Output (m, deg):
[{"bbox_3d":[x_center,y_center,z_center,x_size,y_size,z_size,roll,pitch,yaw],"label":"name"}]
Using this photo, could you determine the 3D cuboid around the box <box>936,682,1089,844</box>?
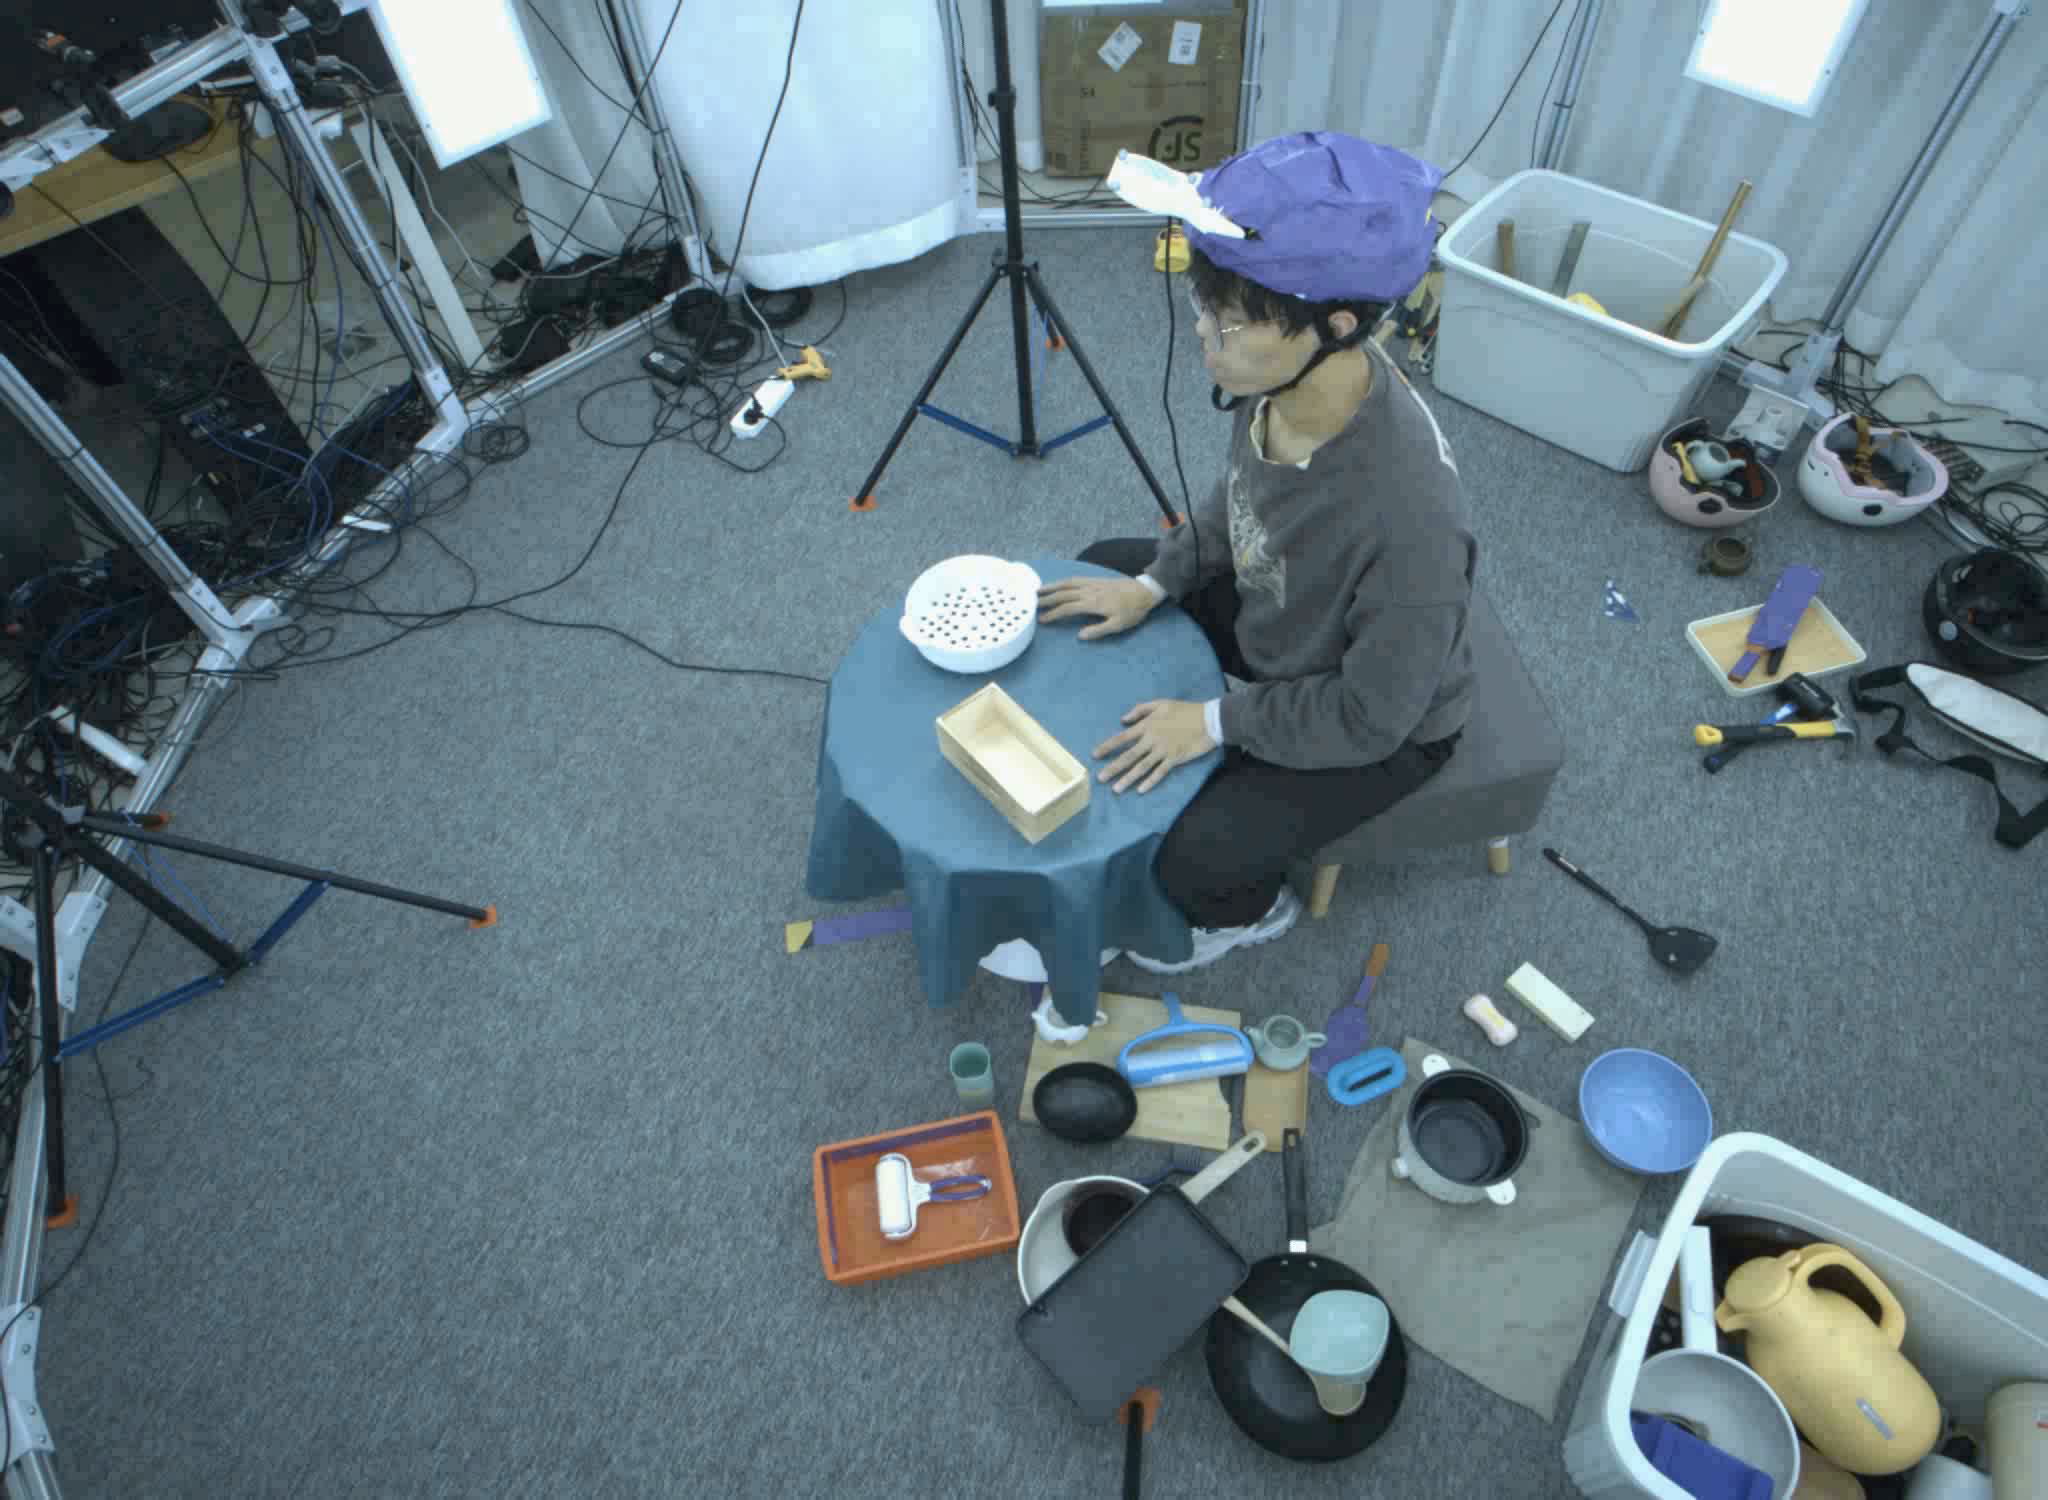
[{"bbox_3d":[-0.017,0.015,1.724,0.108,0.081,0.207,-35,60,-21],"label":"box"}]

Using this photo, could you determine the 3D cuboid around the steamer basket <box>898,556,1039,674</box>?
[{"bbox_3d":[-0.084,-0.207,1.895,0.232,0.070,0.198,-28,59,-18],"label":"steamer basket"}]
